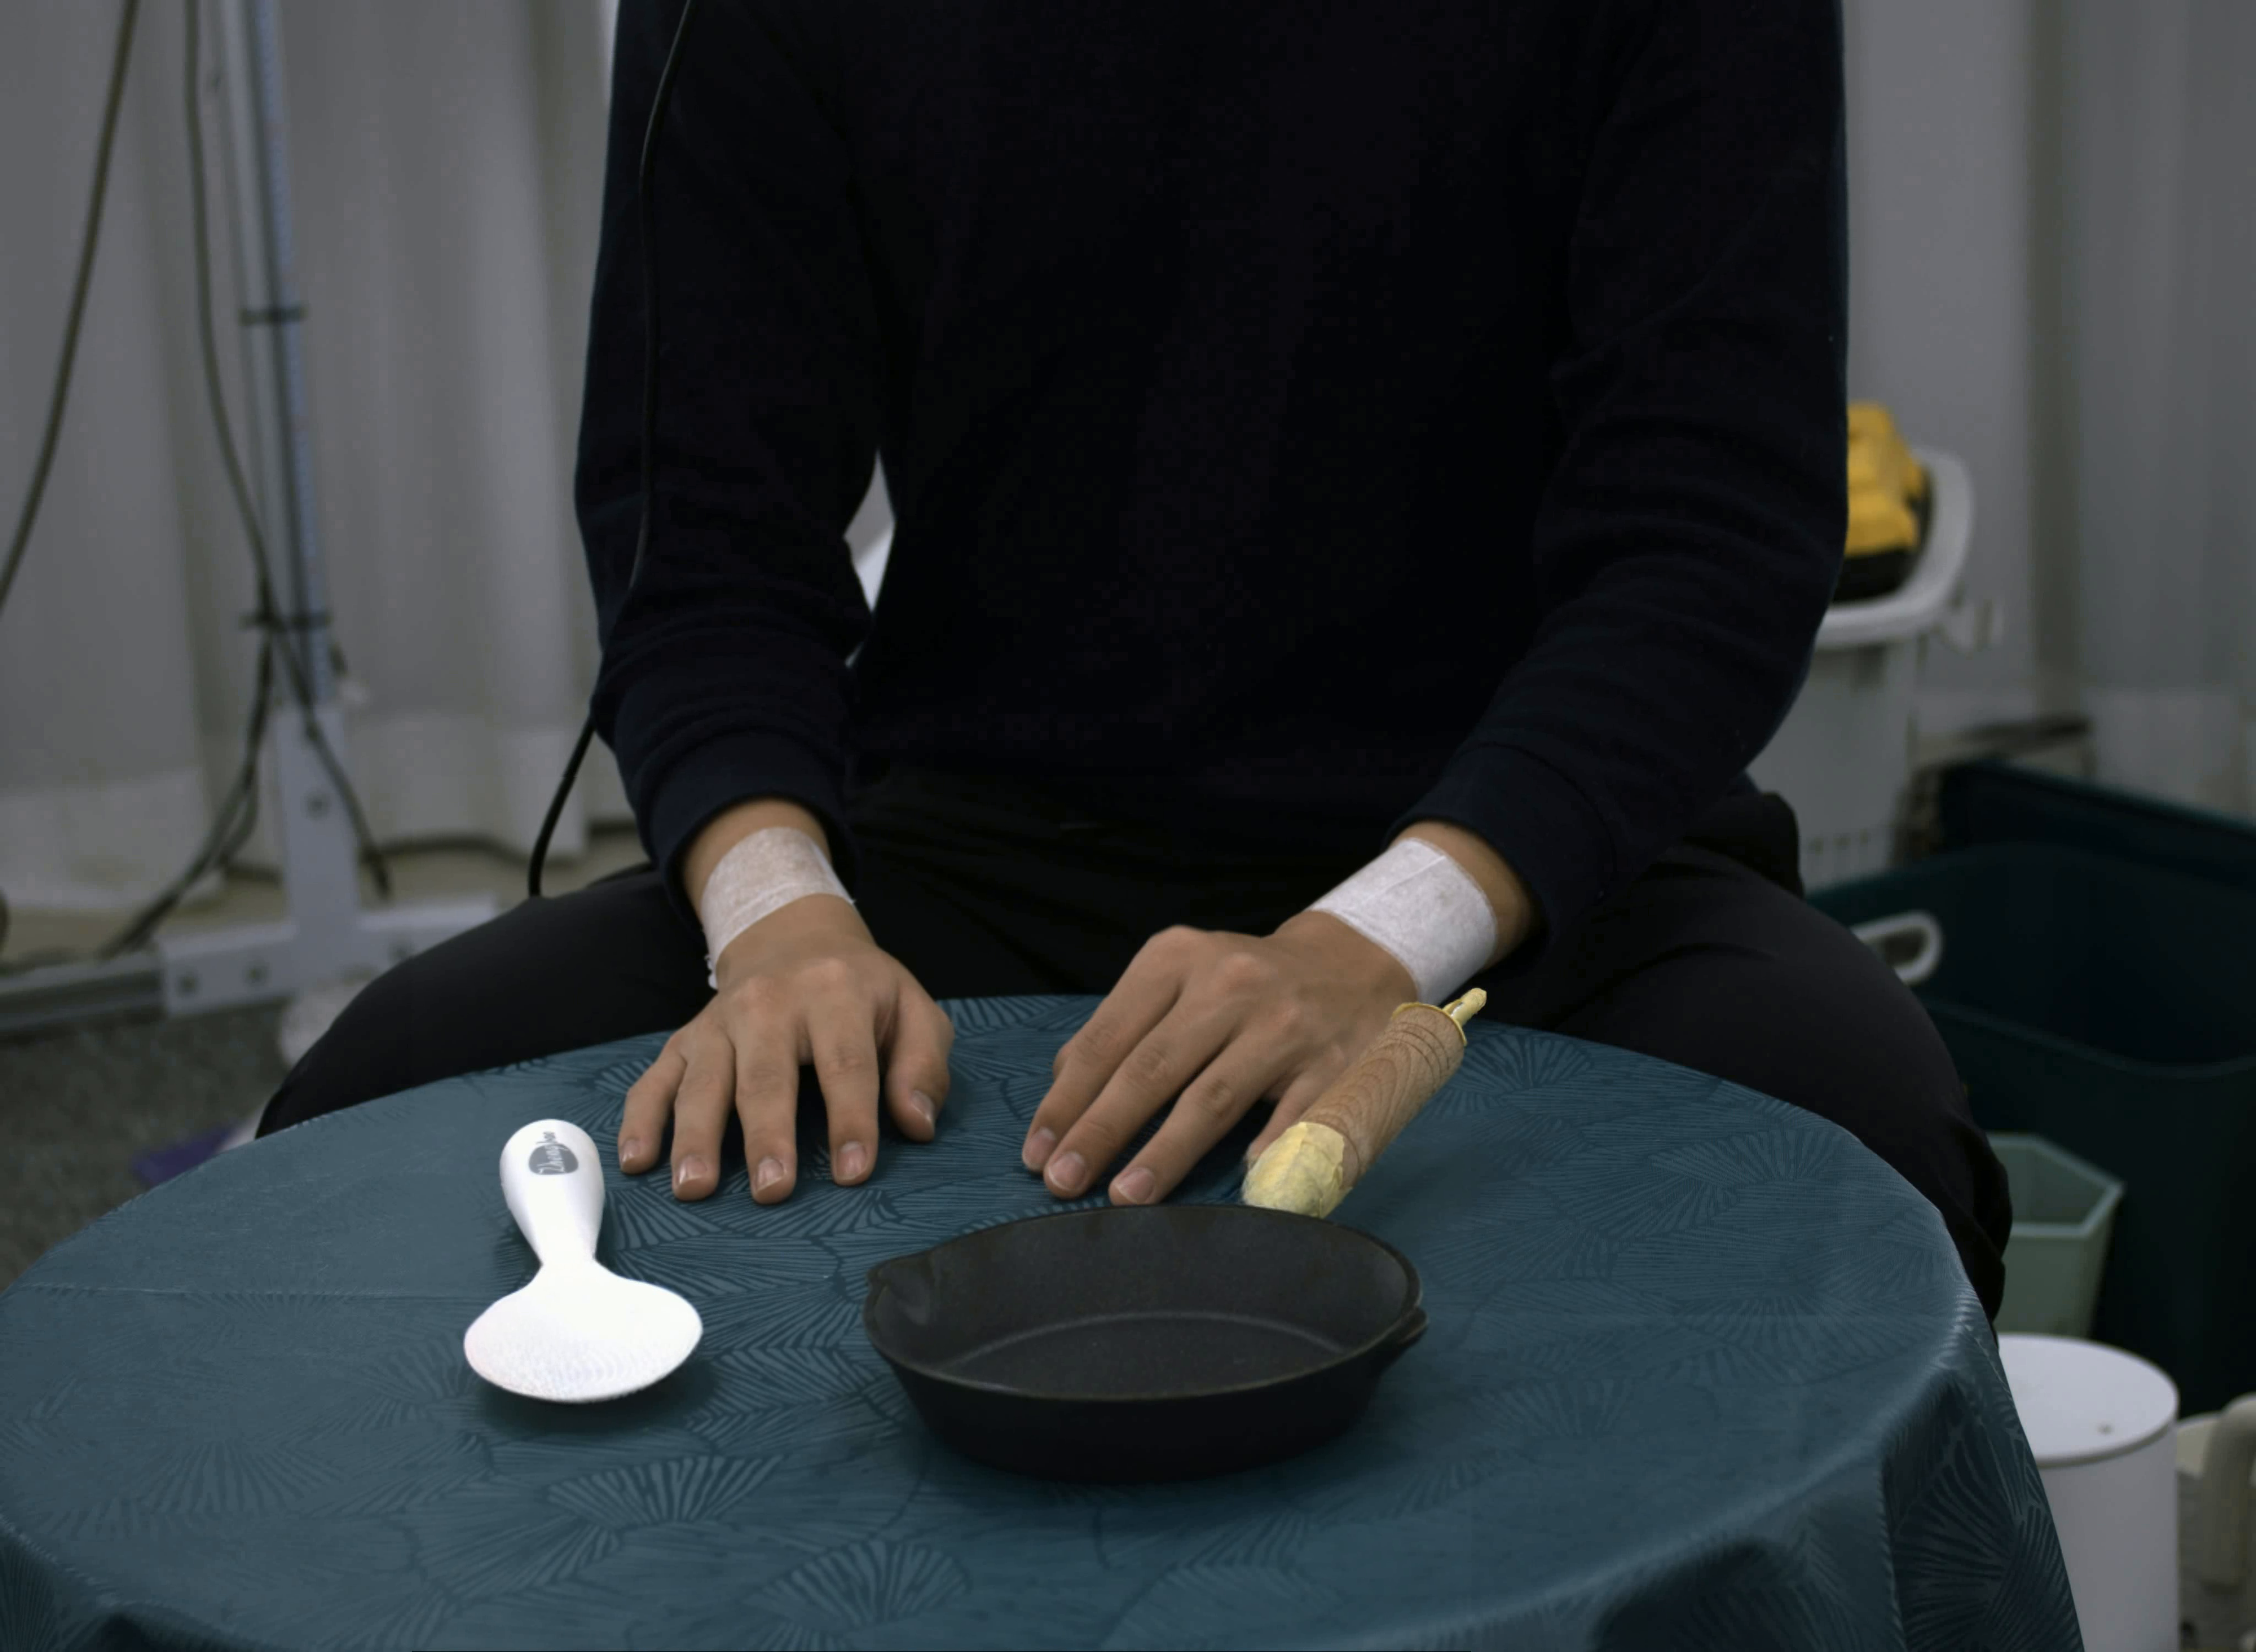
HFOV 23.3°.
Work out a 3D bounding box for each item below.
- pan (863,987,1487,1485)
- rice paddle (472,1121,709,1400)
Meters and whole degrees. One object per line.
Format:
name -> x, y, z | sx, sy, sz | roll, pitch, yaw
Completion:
pan -> 0.041, 0.117, 1.603 | 0.169, 0.049, 0.325 | 4, 18, 26
rice paddle -> -0.165, 0.132, 1.629 | 0.068, 0.029, 0.207 | -7, 15, -9
